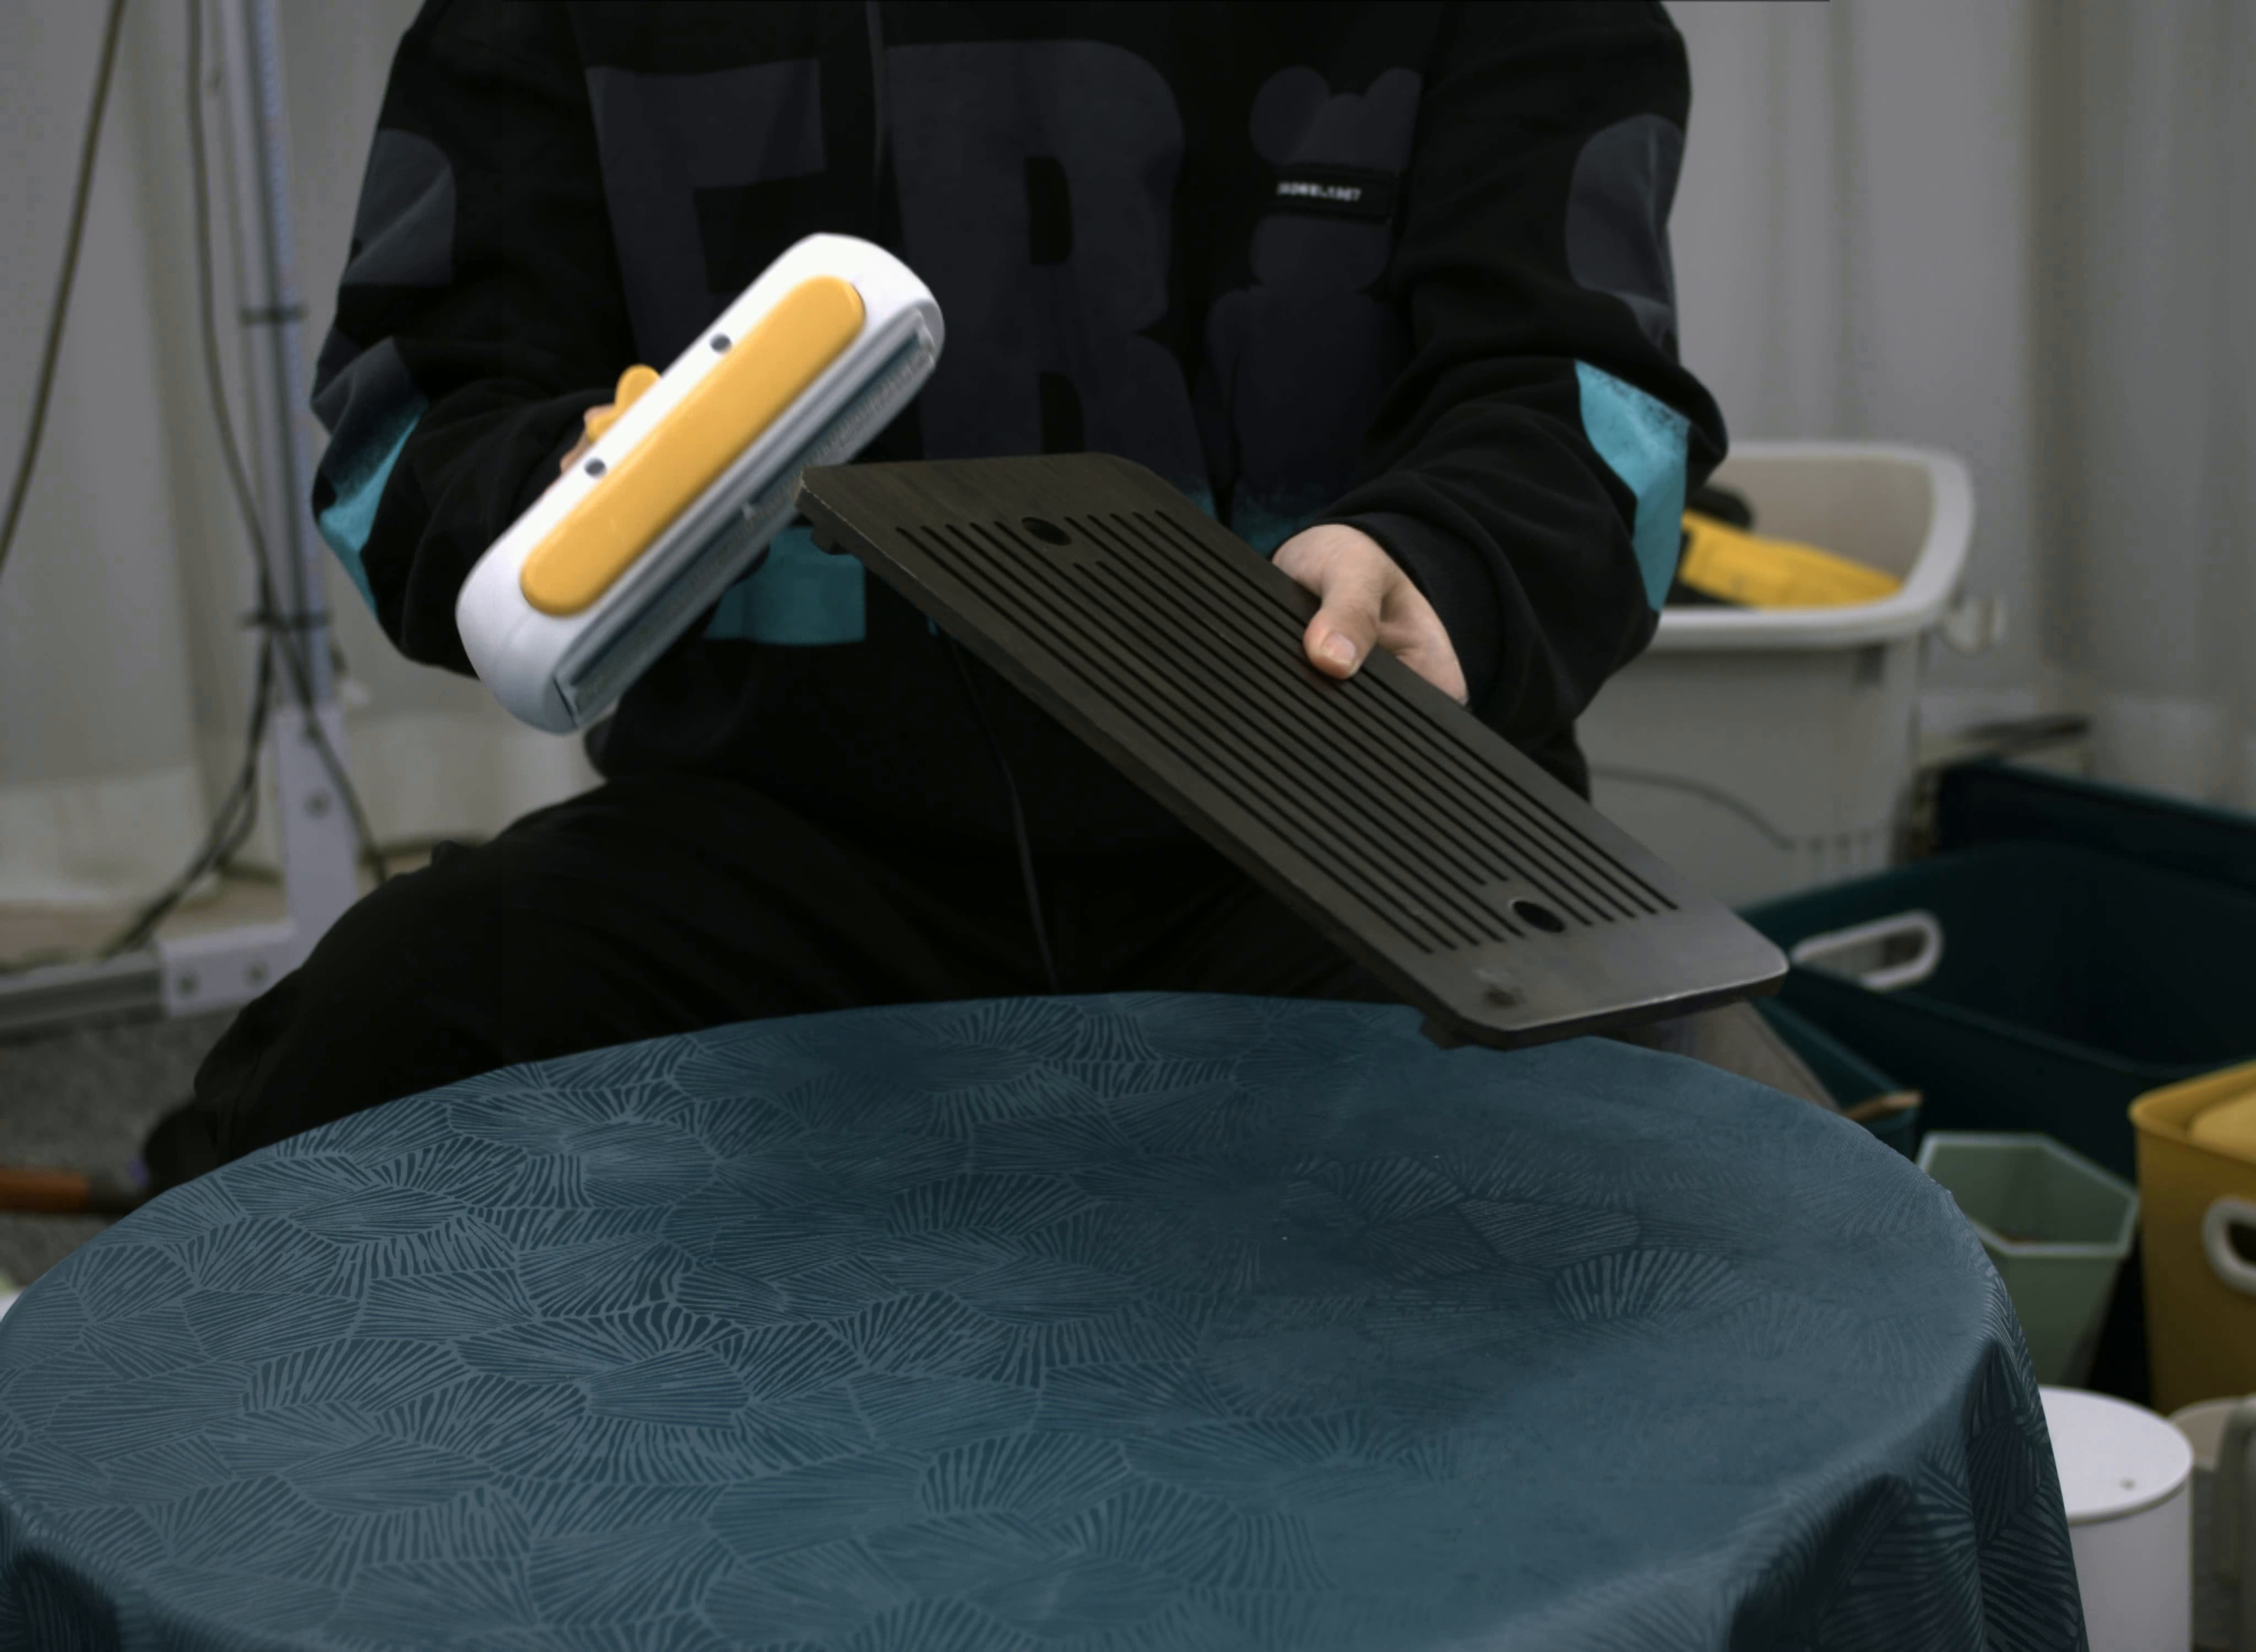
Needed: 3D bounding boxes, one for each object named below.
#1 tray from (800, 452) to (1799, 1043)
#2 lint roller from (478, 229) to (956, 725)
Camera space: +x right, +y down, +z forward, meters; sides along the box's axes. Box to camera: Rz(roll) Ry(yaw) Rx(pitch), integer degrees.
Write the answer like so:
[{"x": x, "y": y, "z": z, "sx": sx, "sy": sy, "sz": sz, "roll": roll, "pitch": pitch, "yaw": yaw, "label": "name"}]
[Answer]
[{"x": 0.049, "y": -0.027, "z": 1.664, "sx": 0.309, "sy": 0.018, "sz": 0.169, "roll": 38, "pitch": 27, "yaw": 30, "label": "tray"}, {"x": -0.142, "y": -0.099, "z": 1.819, "sx": 0.074, "sy": 0.194, "sz": 0.191, "roll": 37, "pitch": -18, "yaw": 7, "label": "lint roller"}]
